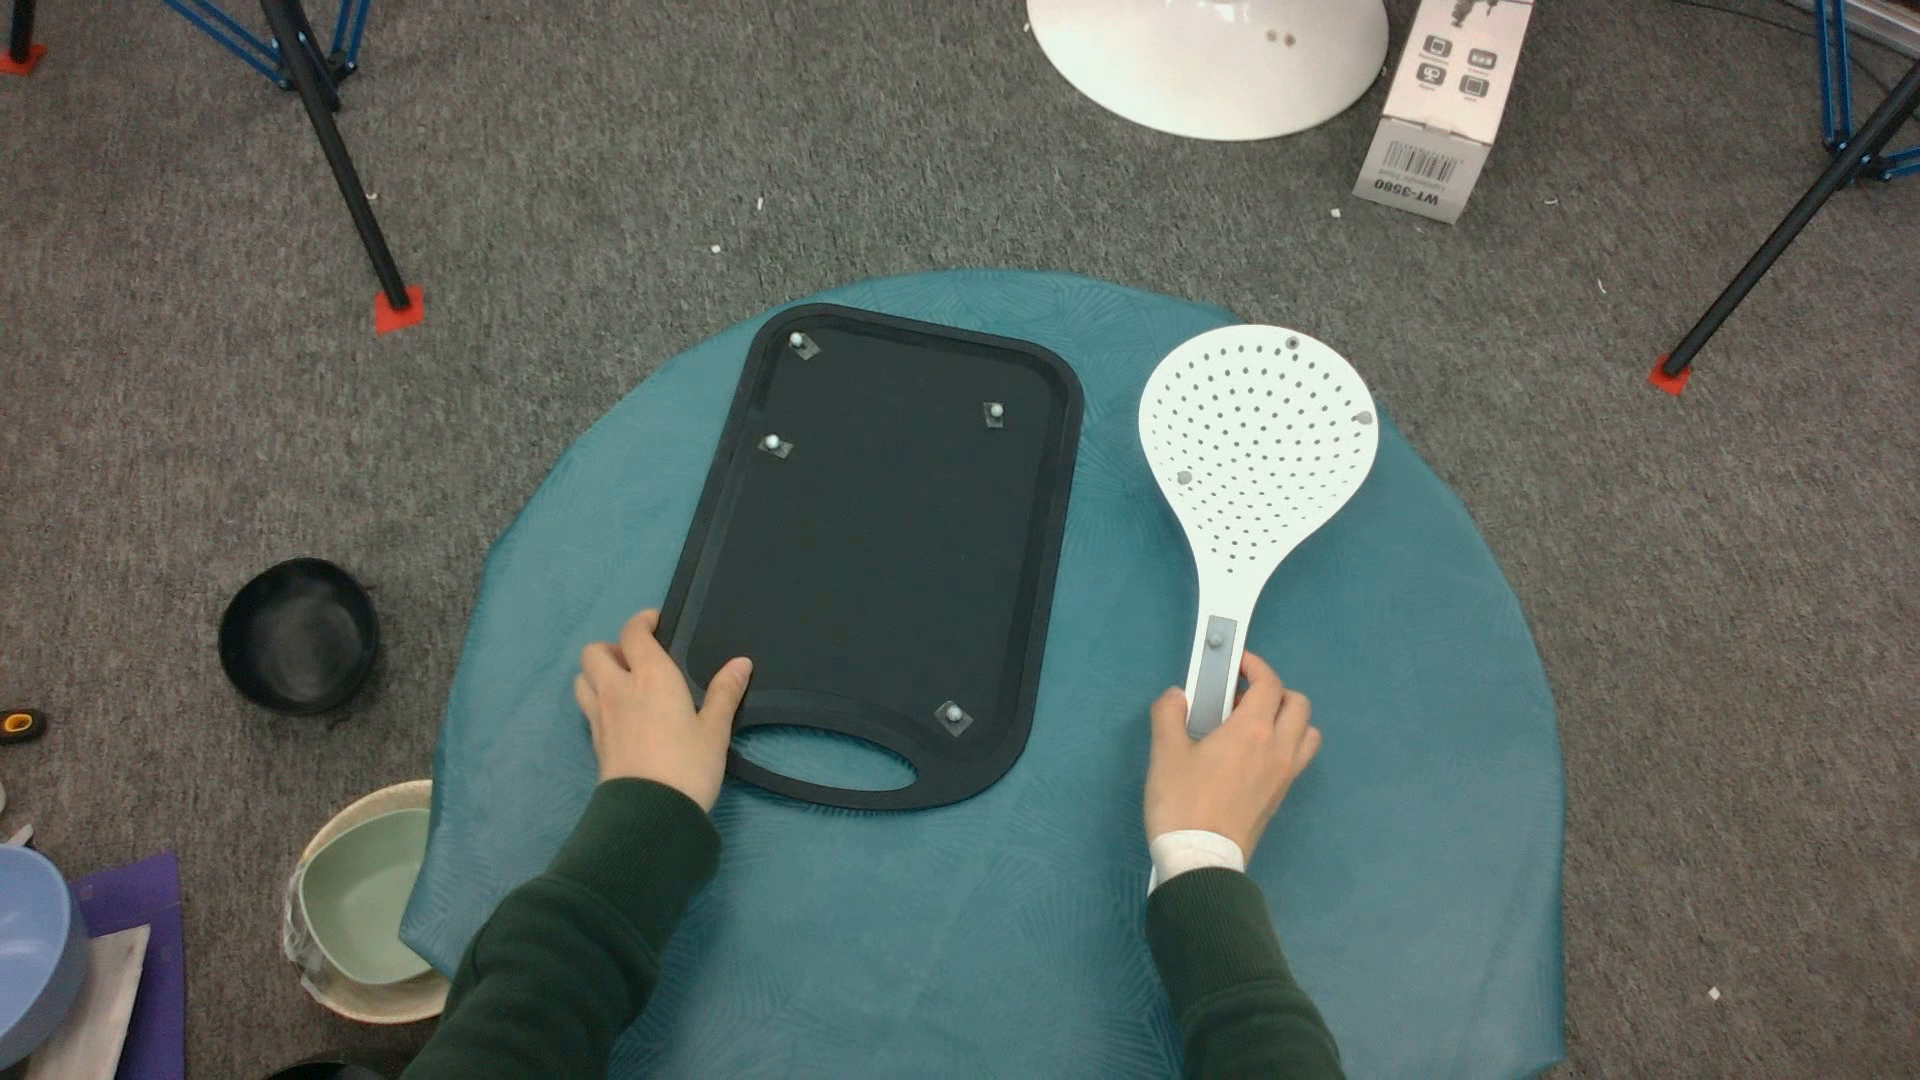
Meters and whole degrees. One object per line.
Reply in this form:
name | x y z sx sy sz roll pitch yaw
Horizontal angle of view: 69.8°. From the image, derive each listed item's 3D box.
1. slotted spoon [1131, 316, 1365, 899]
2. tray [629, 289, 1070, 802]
slotted spoon | 0.141 0.025 0.763 0.136 0.045 0.351 11 60 8
tray | -0.055 -0.008 0.784 0.211 0.010 0.327 11 59 1
